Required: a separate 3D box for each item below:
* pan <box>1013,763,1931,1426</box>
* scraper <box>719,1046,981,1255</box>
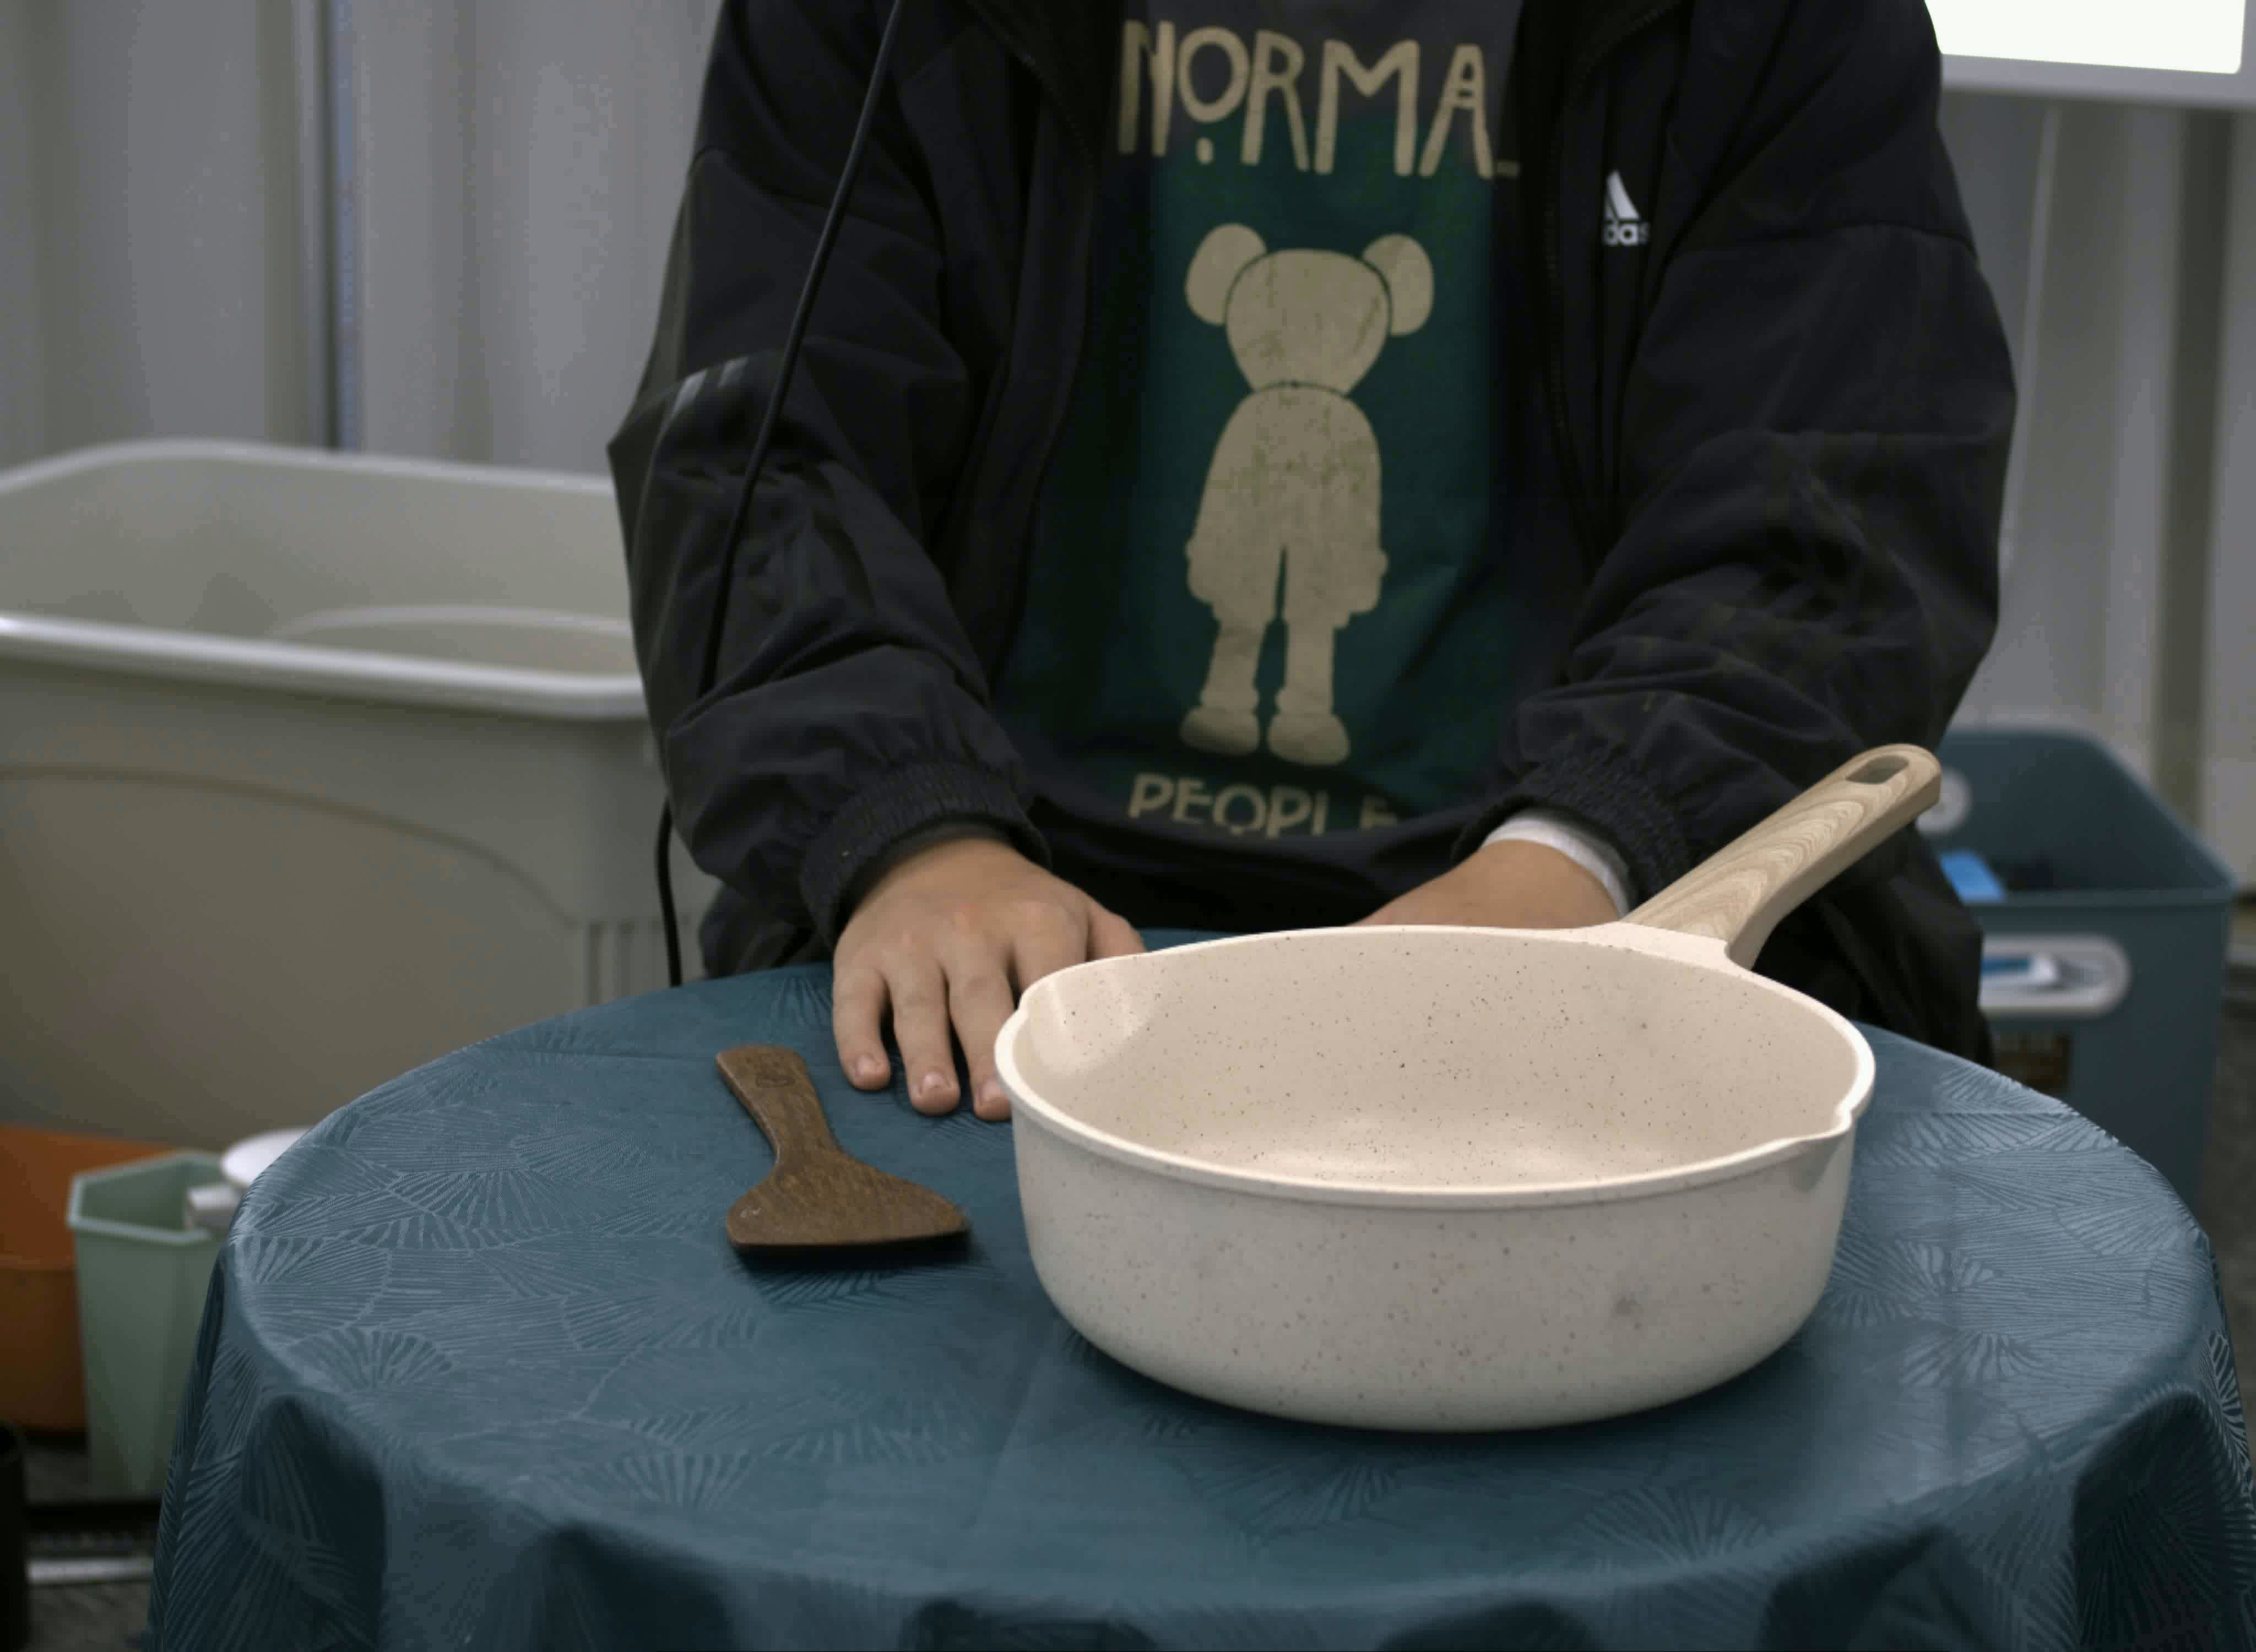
[{"bbox_3d":[0.142,0.075,1.581,0.260,0.103,0.436,8,17,32],"label":"pan"},{"bbox_3d":[-0.100,0.101,1.648,0.076,0.011,0.209,-2,15,-12],"label":"scraper"}]
